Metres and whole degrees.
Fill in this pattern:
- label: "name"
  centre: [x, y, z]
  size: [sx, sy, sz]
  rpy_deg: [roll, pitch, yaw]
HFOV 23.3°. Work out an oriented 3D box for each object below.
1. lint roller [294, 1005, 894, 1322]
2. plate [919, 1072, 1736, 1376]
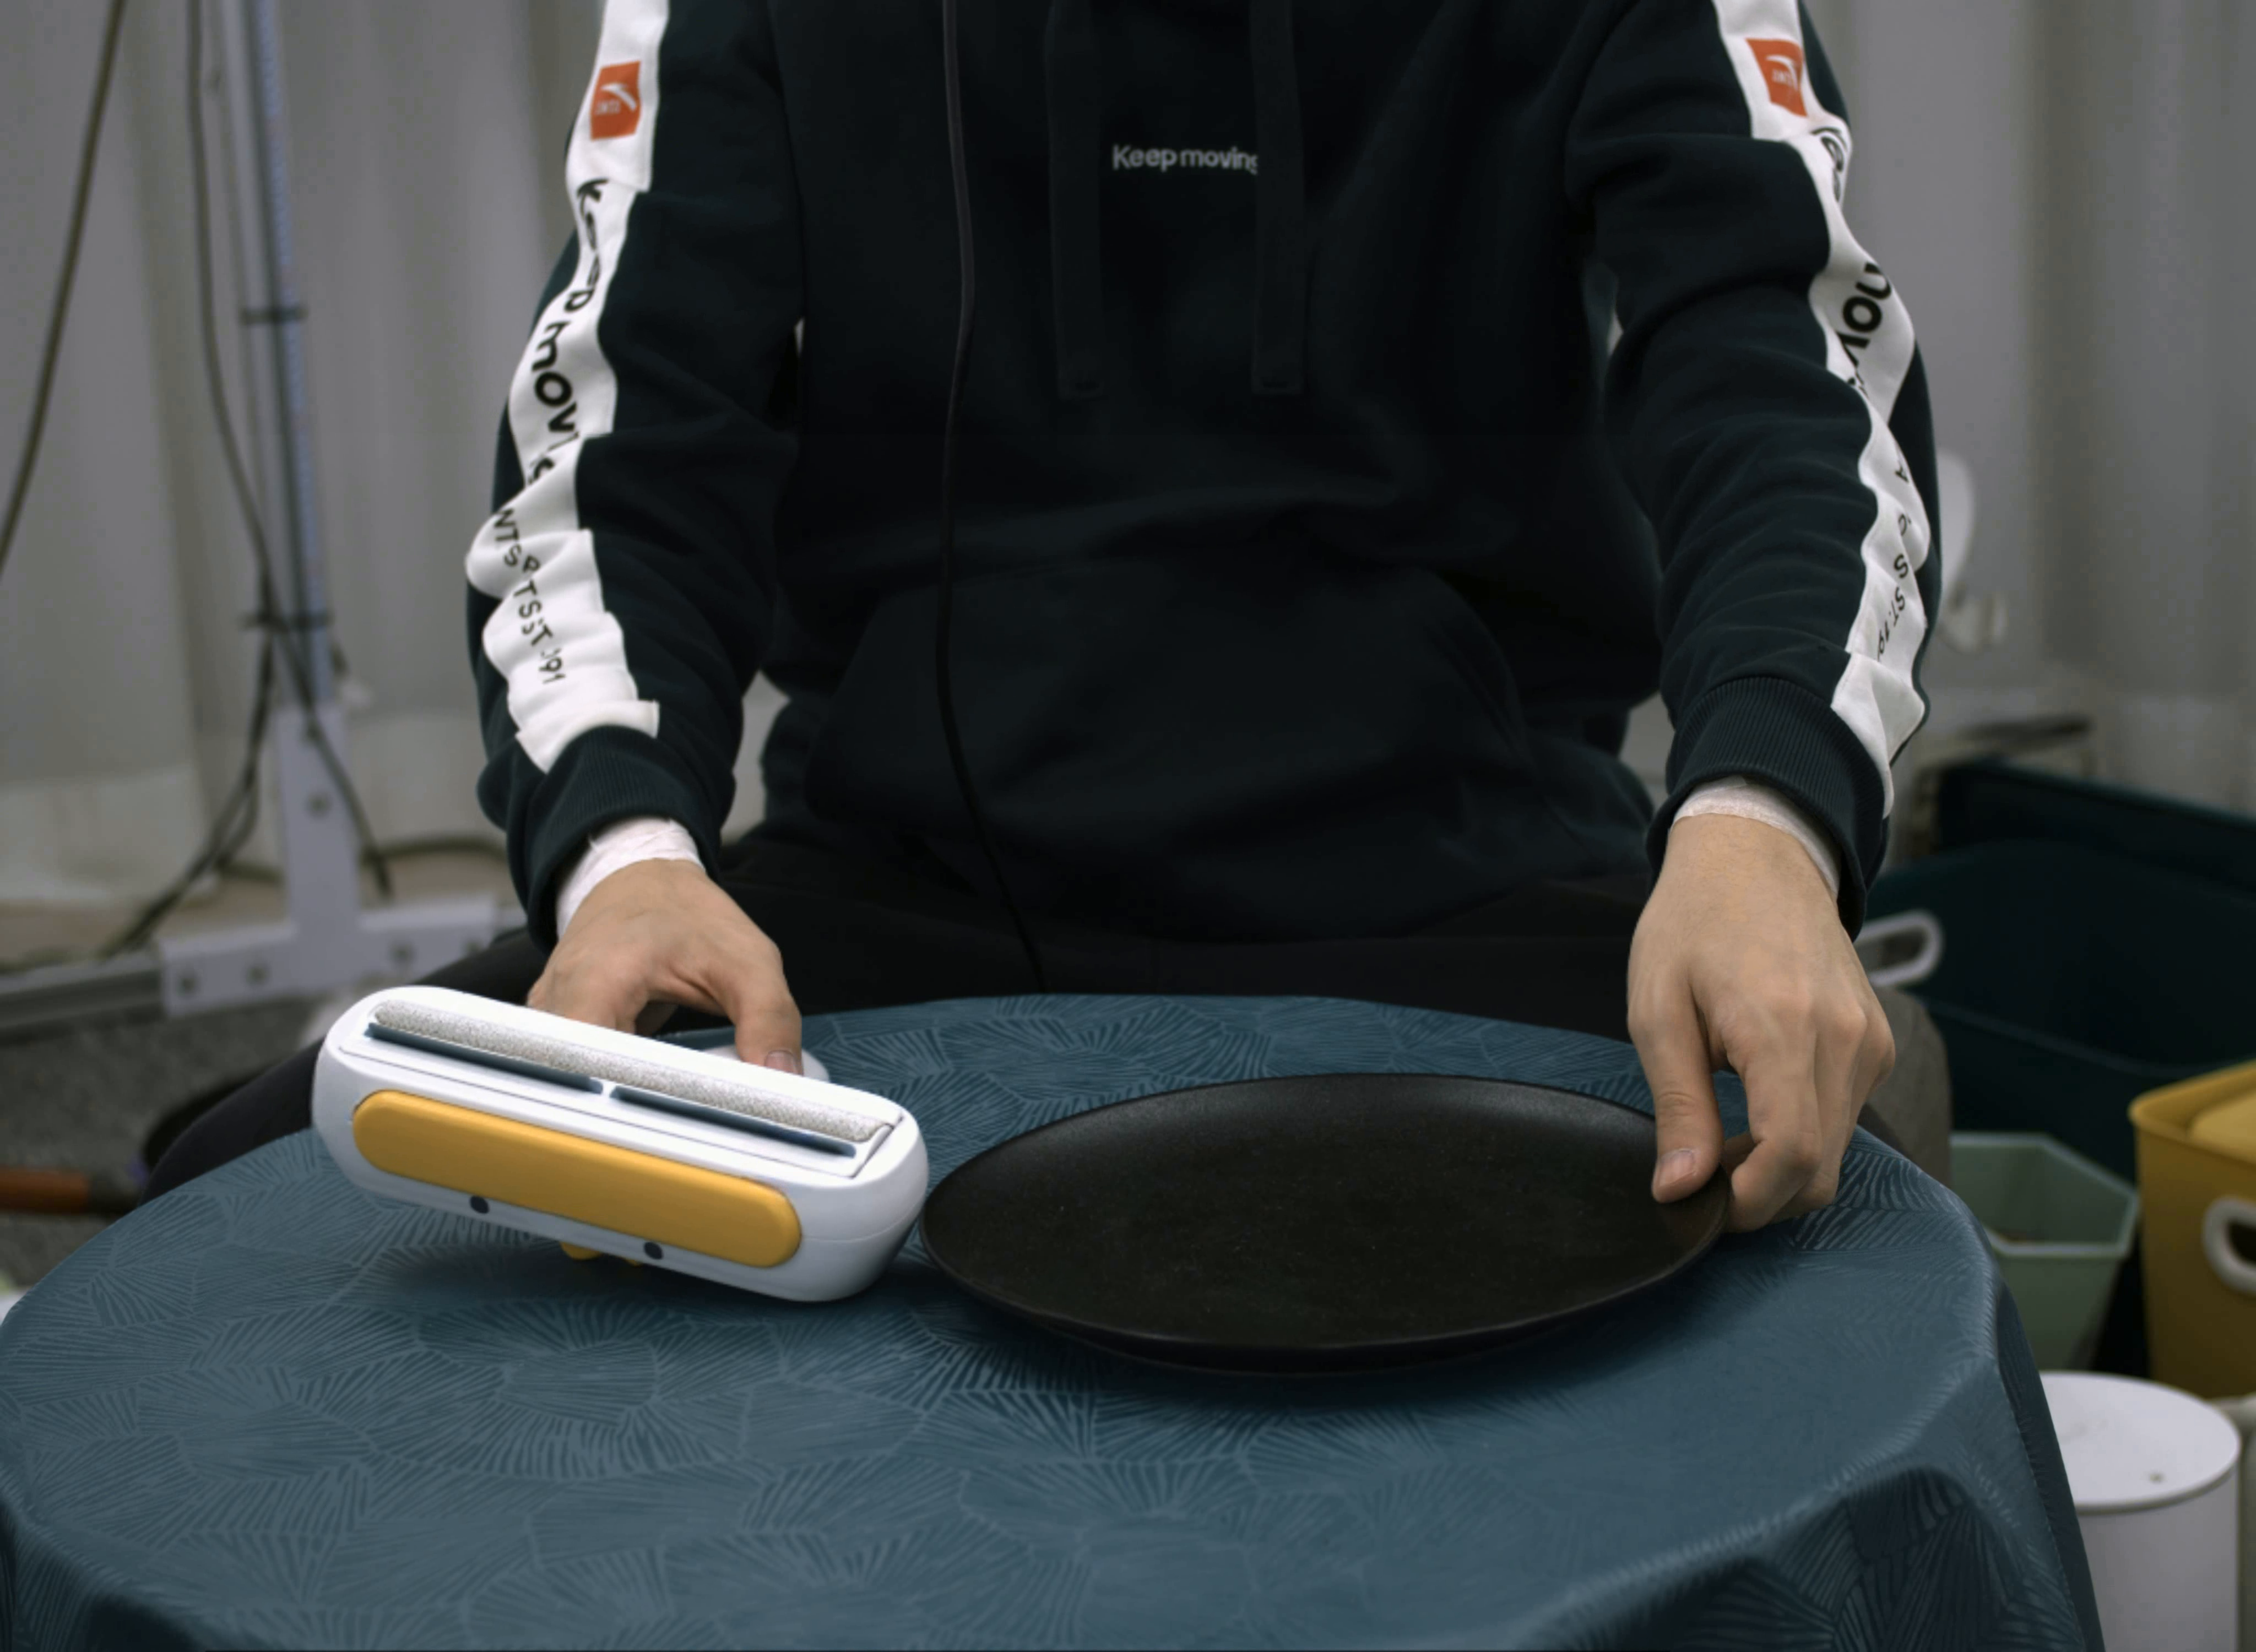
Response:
- label: "lint roller"
  centre: [-0.142, 0.107, 1.713]
  size: [0.193, 0.074, 0.192]
  rpy_deg: [11, 5, 22]
- label: "plate"
  centre: [0.059, 0.122, 1.632]
  size: [0.243, 0.023, 0.246]
  rpy_deg: [-3, 15, 1]
